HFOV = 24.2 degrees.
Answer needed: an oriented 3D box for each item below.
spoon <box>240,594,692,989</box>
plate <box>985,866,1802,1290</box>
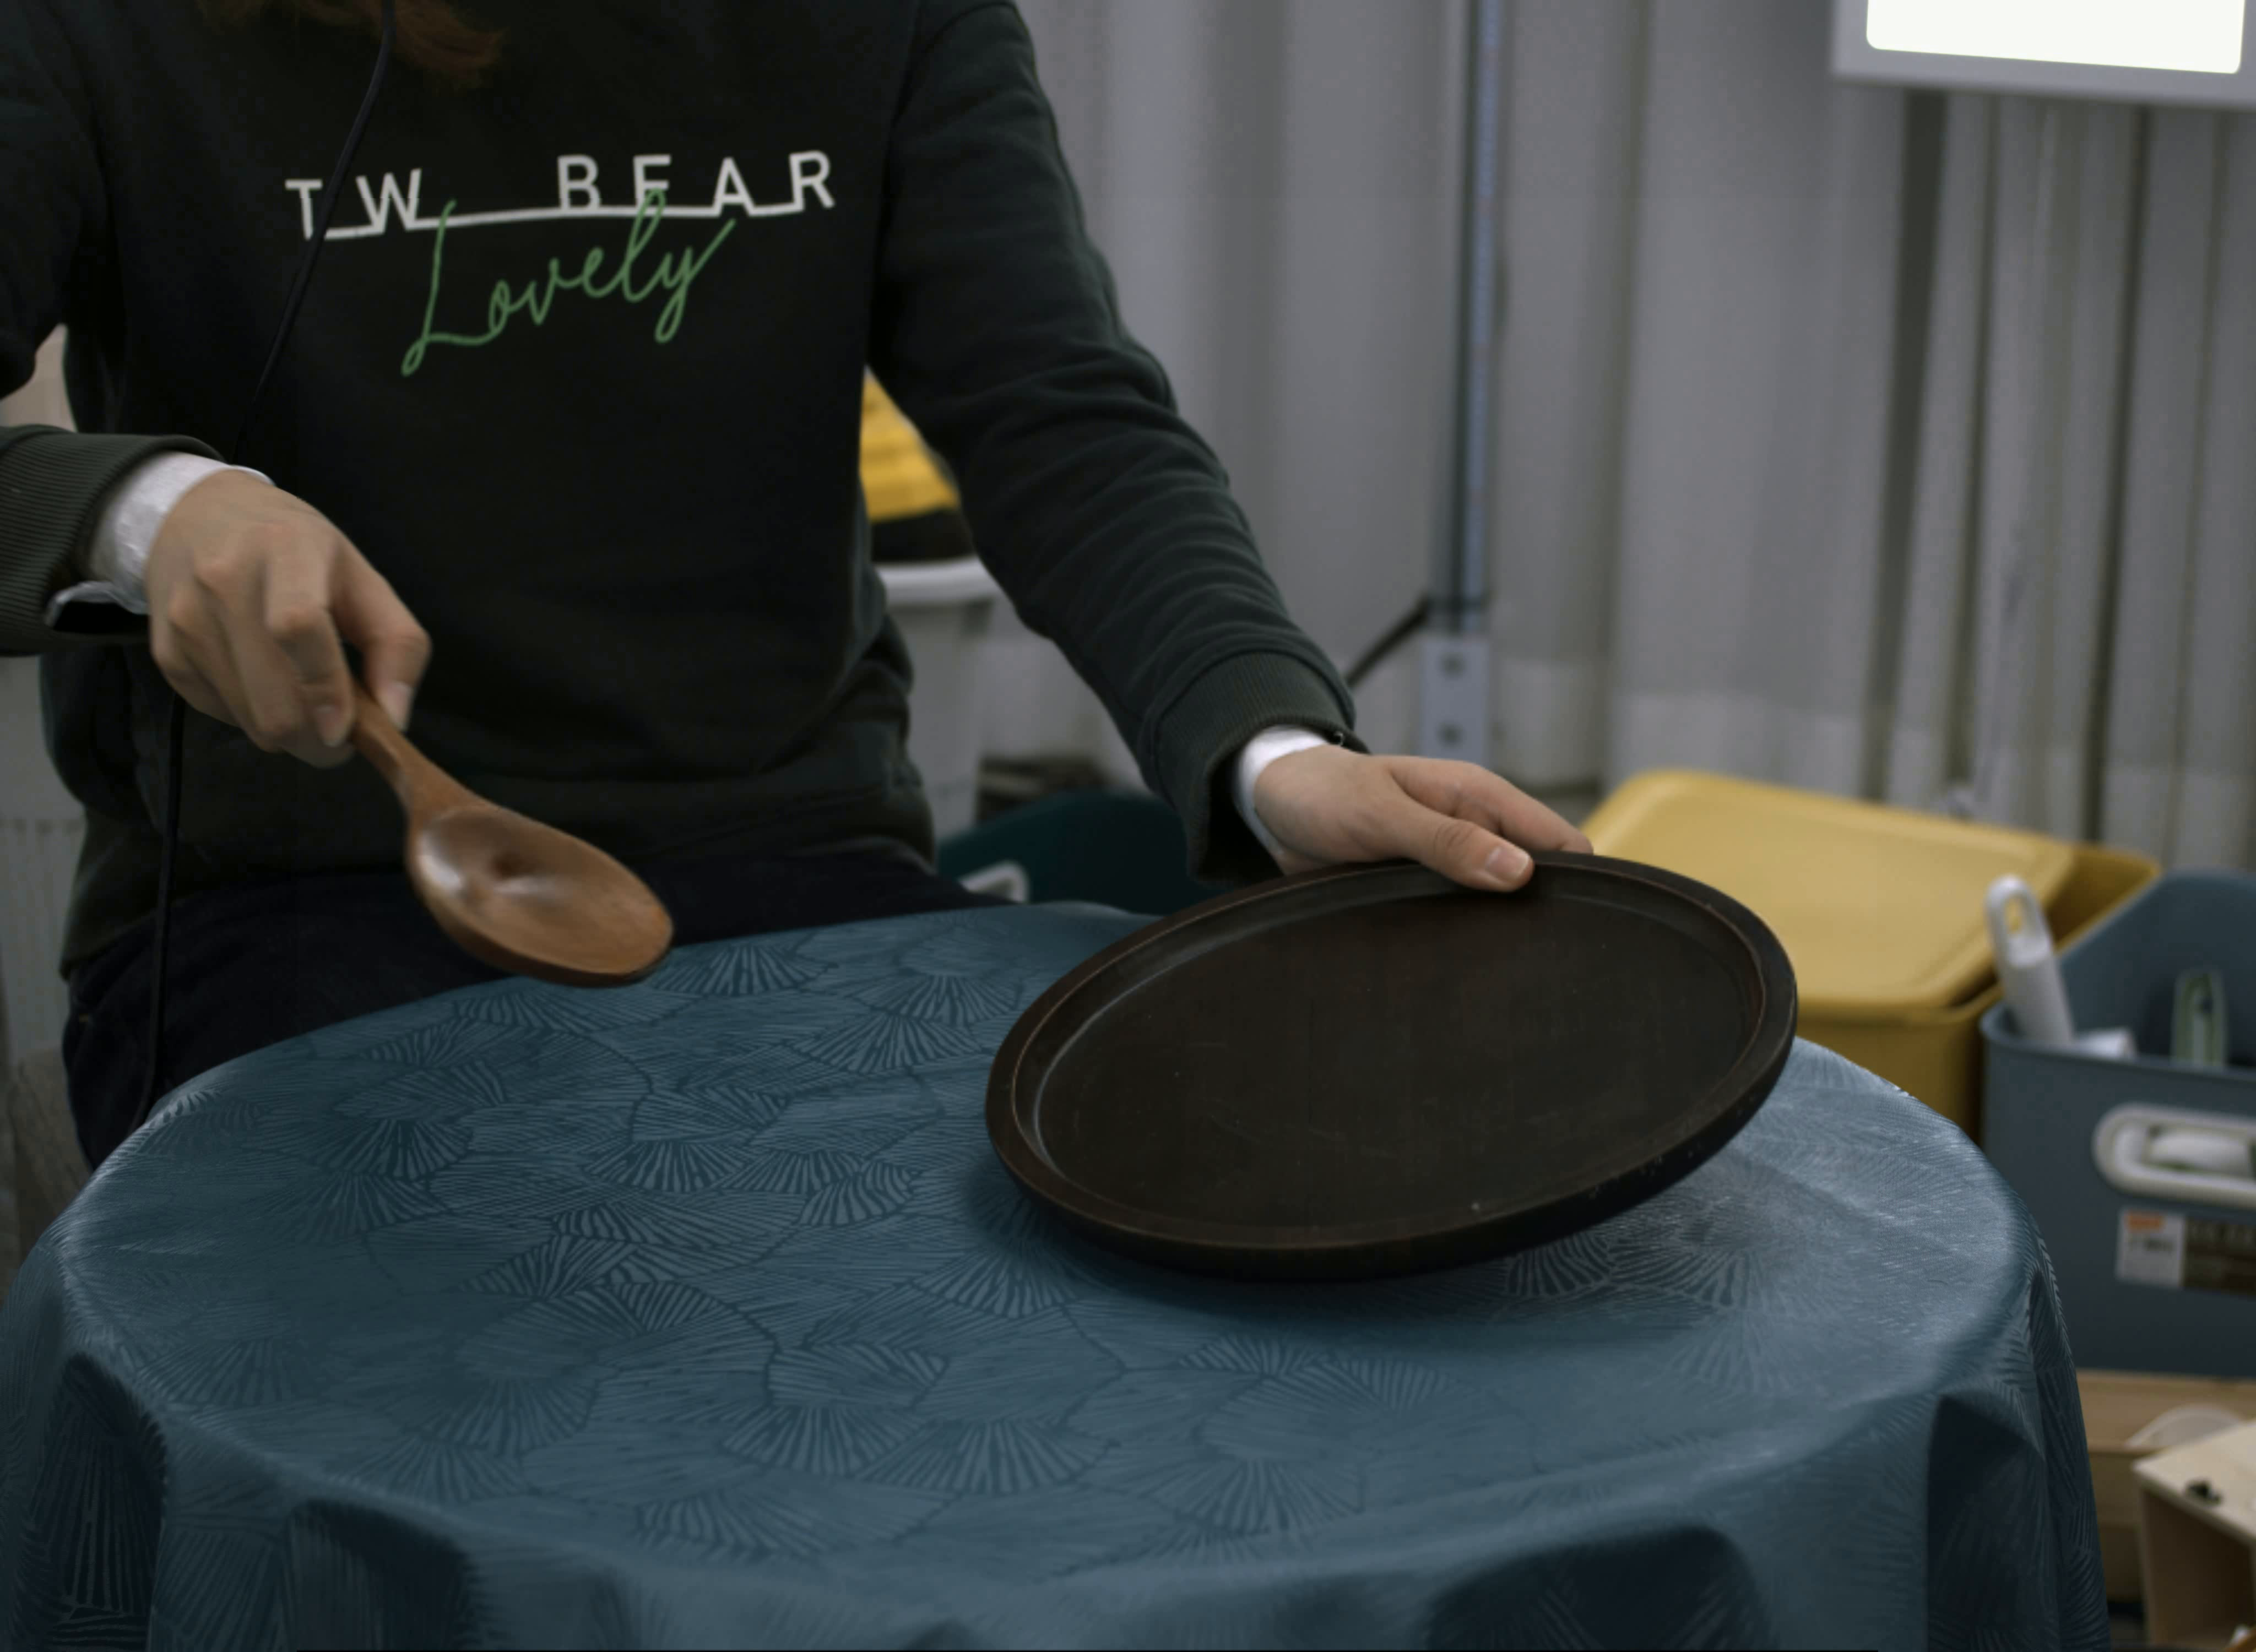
[{"bbox_3d":[-0.203,-0.009,1.549,0.076,0.017,0.213,-5,36,-41],"label":"spoon"},{"bbox_3d":[0.081,0.074,1.620,0.254,0.029,0.253,-7,26,4],"label":"plate"}]
